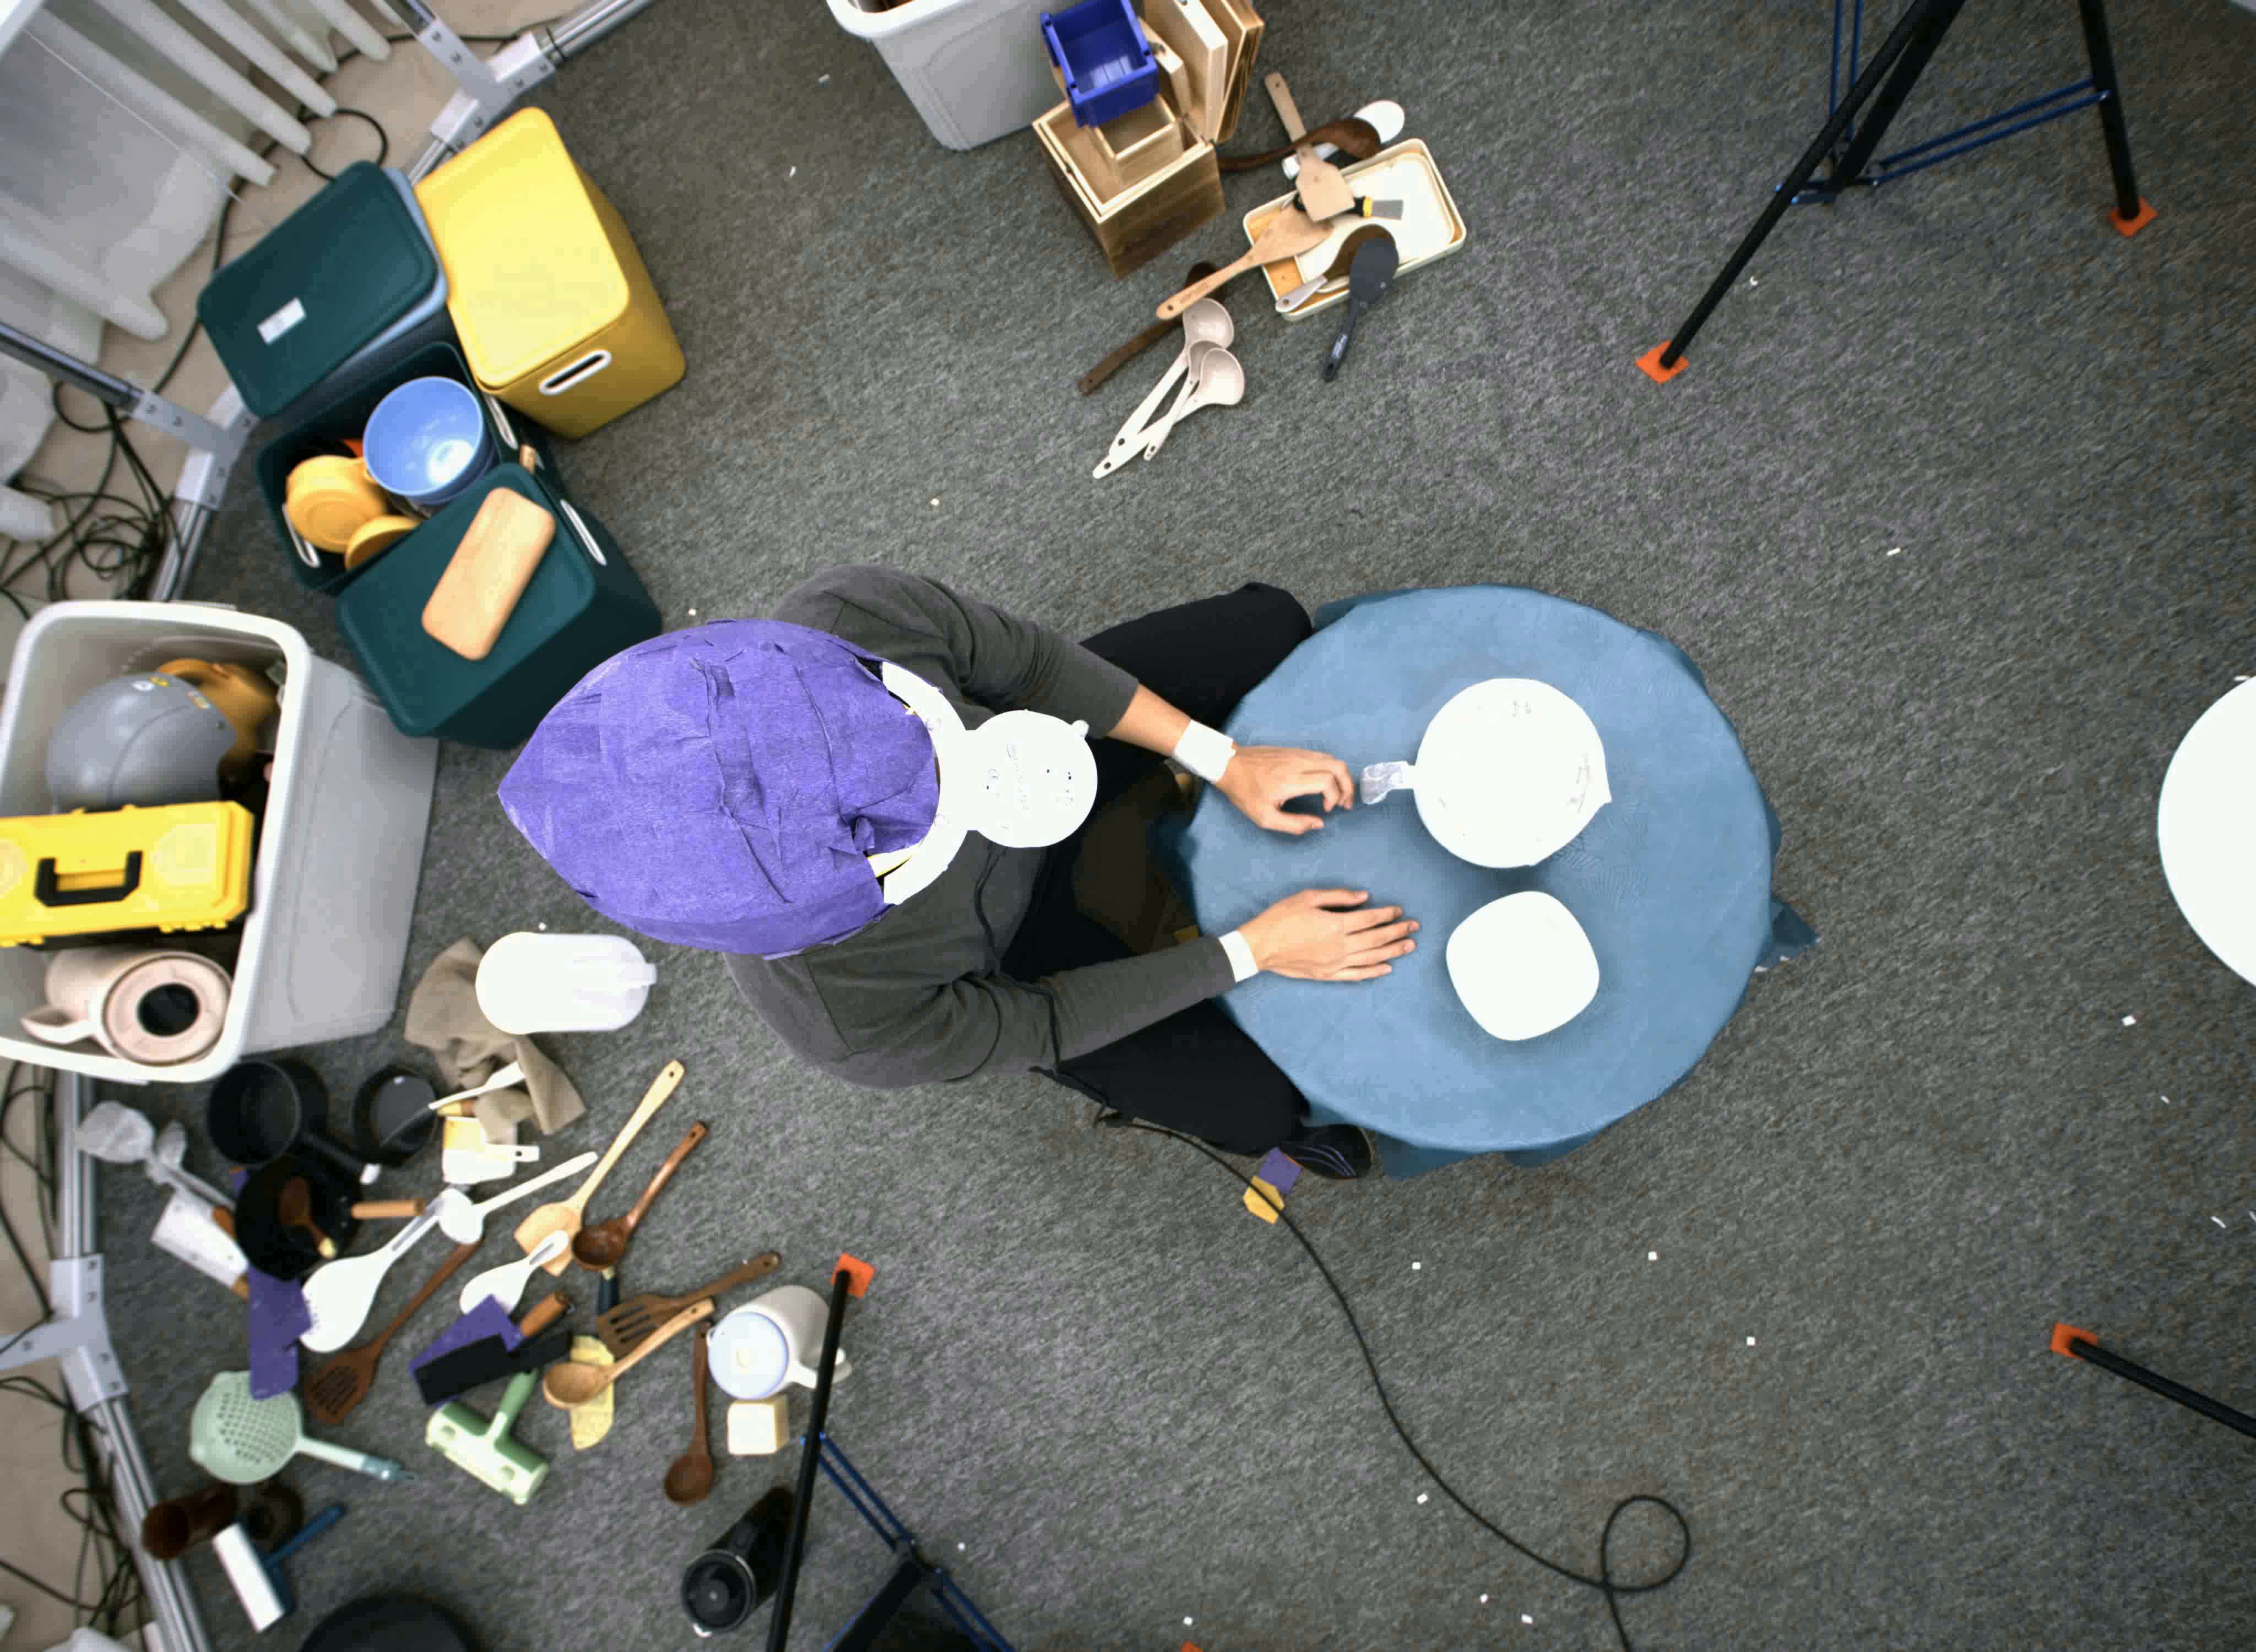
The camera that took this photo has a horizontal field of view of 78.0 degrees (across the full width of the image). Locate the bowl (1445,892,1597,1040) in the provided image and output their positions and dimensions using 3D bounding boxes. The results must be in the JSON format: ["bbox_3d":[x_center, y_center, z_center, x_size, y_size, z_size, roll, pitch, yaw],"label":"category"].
[{"bbox_3d":[0.397,0.140,1.404,0.152,0.059,0.151,-1,86,9],"label":"bowl"}]

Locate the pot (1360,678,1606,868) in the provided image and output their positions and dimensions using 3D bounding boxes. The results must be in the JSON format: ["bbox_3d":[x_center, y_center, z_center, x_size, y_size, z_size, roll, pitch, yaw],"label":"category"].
[{"bbox_3d":[0.351,-0.049,1.383,0.235,0.137,0.178,-3,85,11],"label":"pot"}]
